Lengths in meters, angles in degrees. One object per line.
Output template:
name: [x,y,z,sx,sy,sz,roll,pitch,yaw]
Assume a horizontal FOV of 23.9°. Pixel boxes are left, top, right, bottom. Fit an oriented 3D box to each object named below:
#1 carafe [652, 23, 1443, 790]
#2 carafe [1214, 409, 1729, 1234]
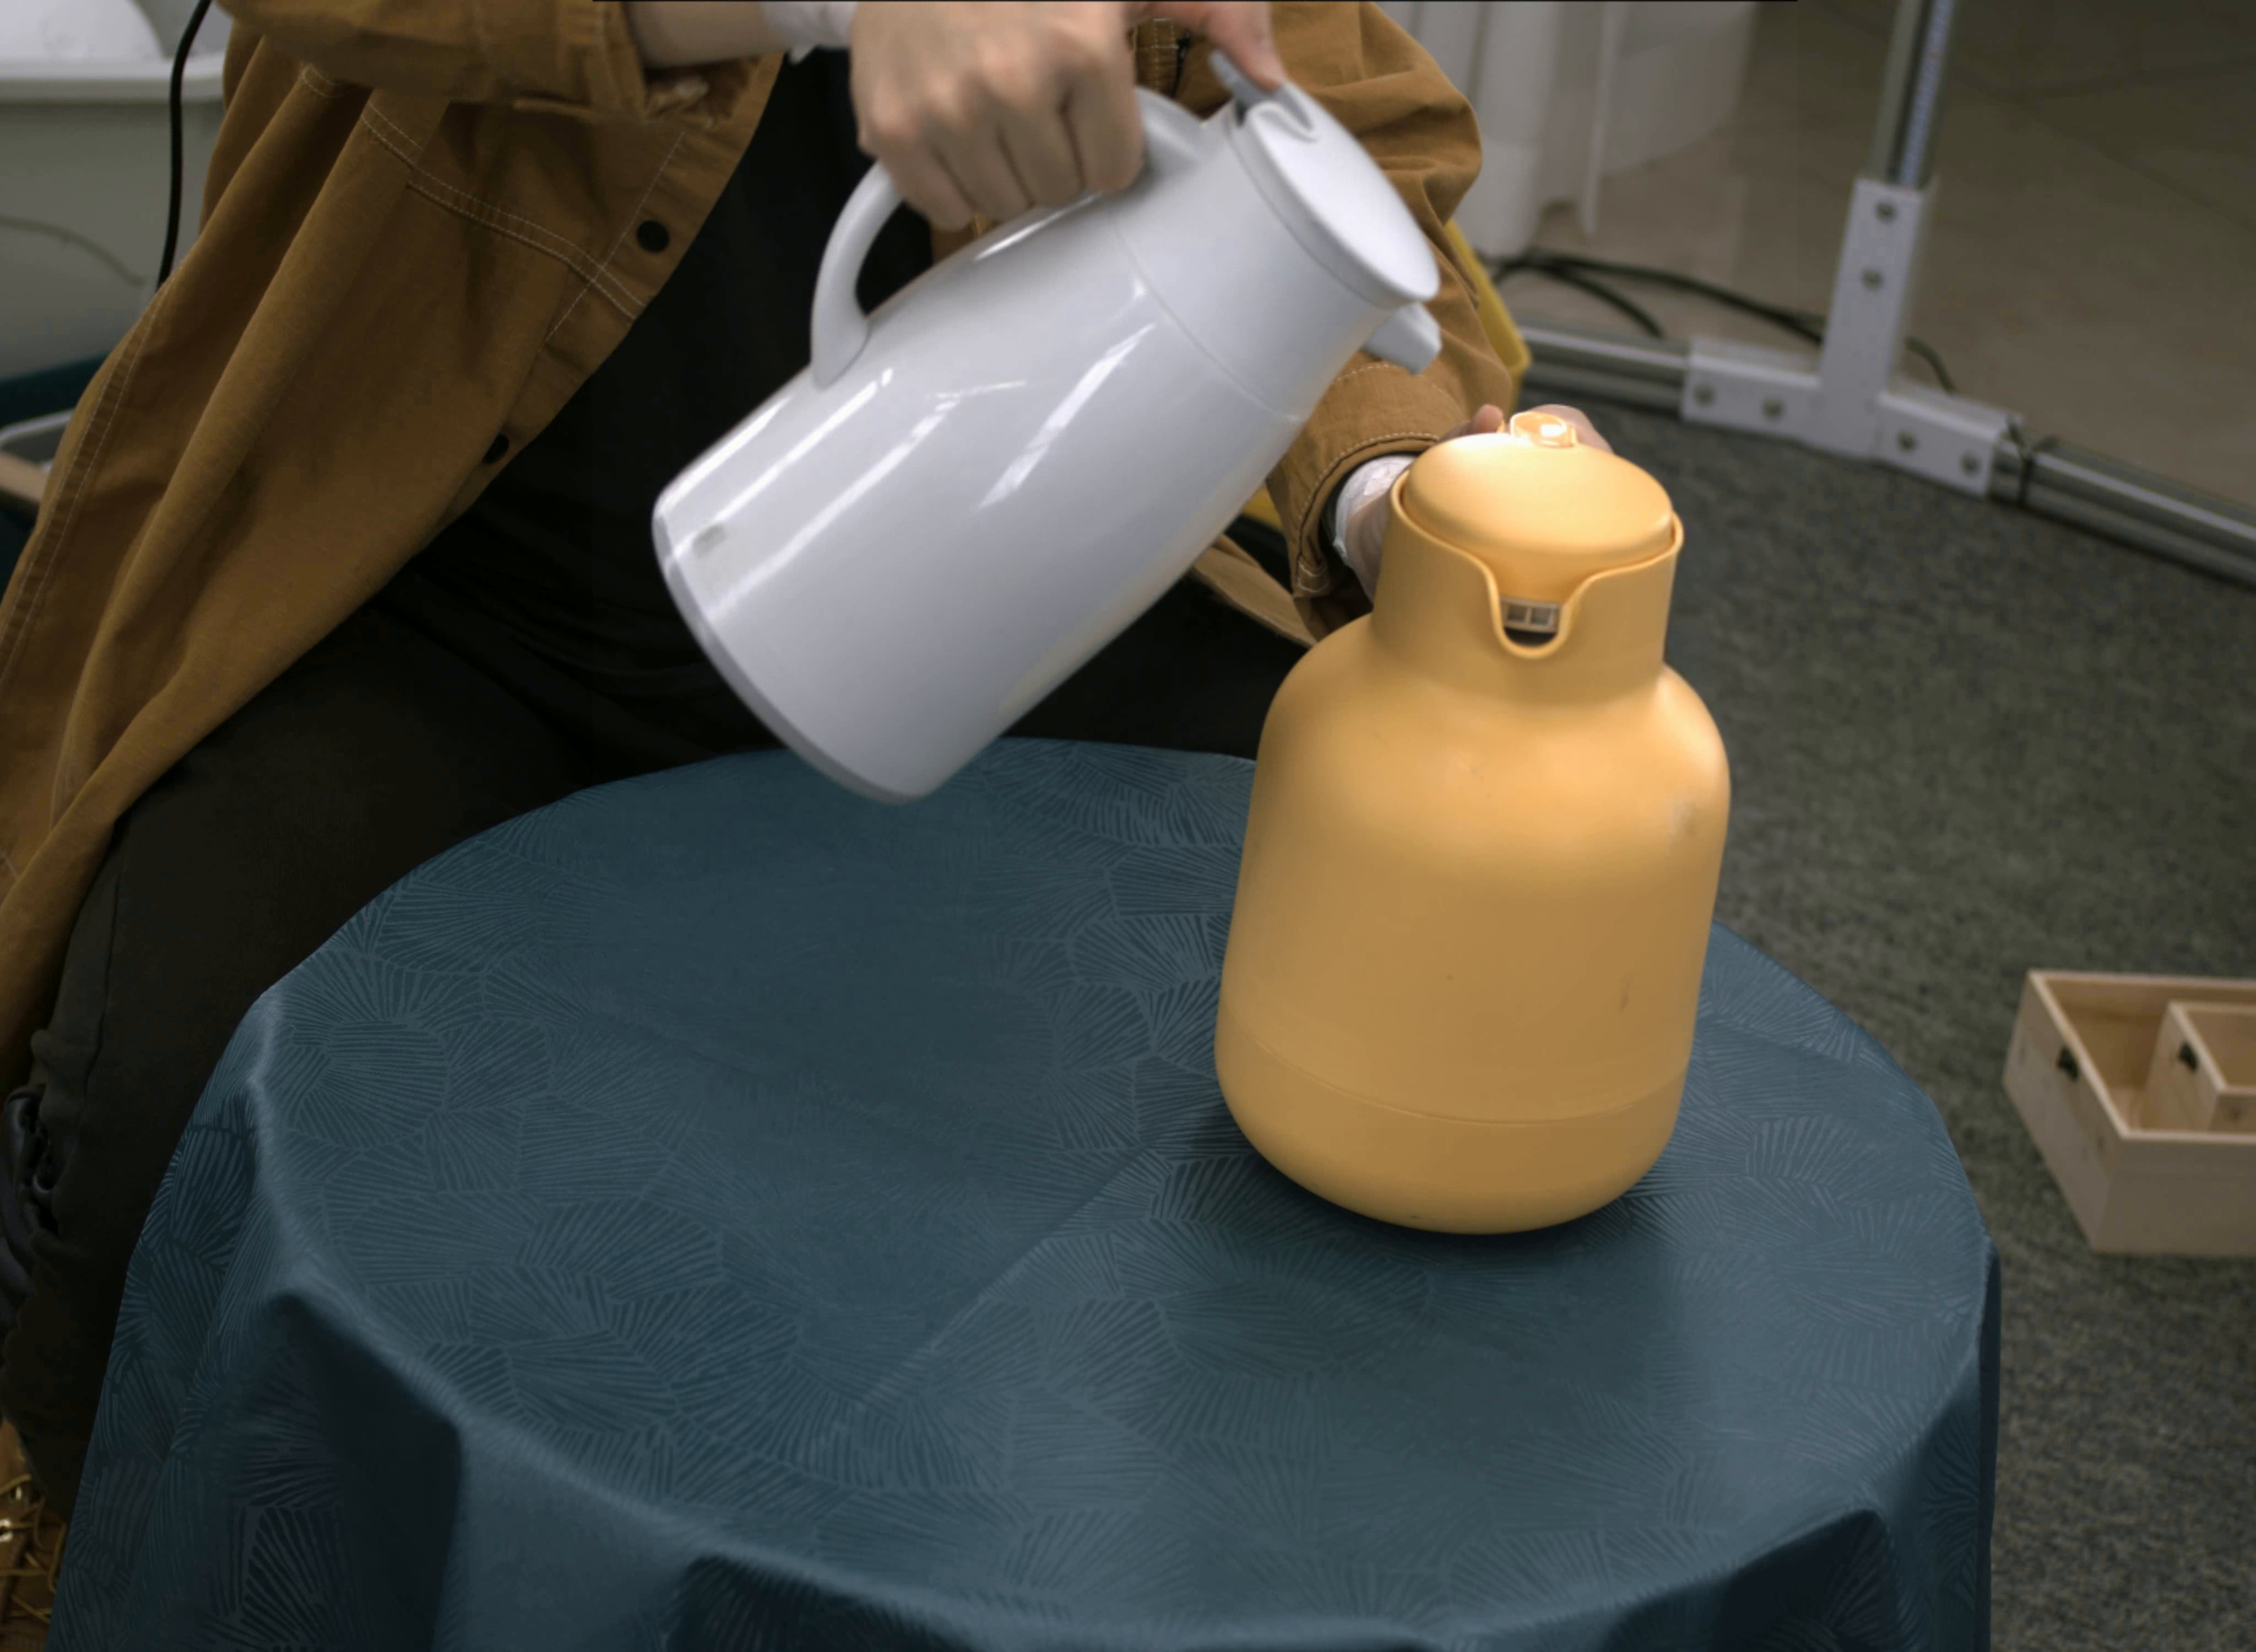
carafe: [-0.031,-0.147,1.683,0.166,0.248,0.133,42,22,-23]
carafe: [0.124,-0.011,1.813,0.163,0.259,0.203,10,28,3]
